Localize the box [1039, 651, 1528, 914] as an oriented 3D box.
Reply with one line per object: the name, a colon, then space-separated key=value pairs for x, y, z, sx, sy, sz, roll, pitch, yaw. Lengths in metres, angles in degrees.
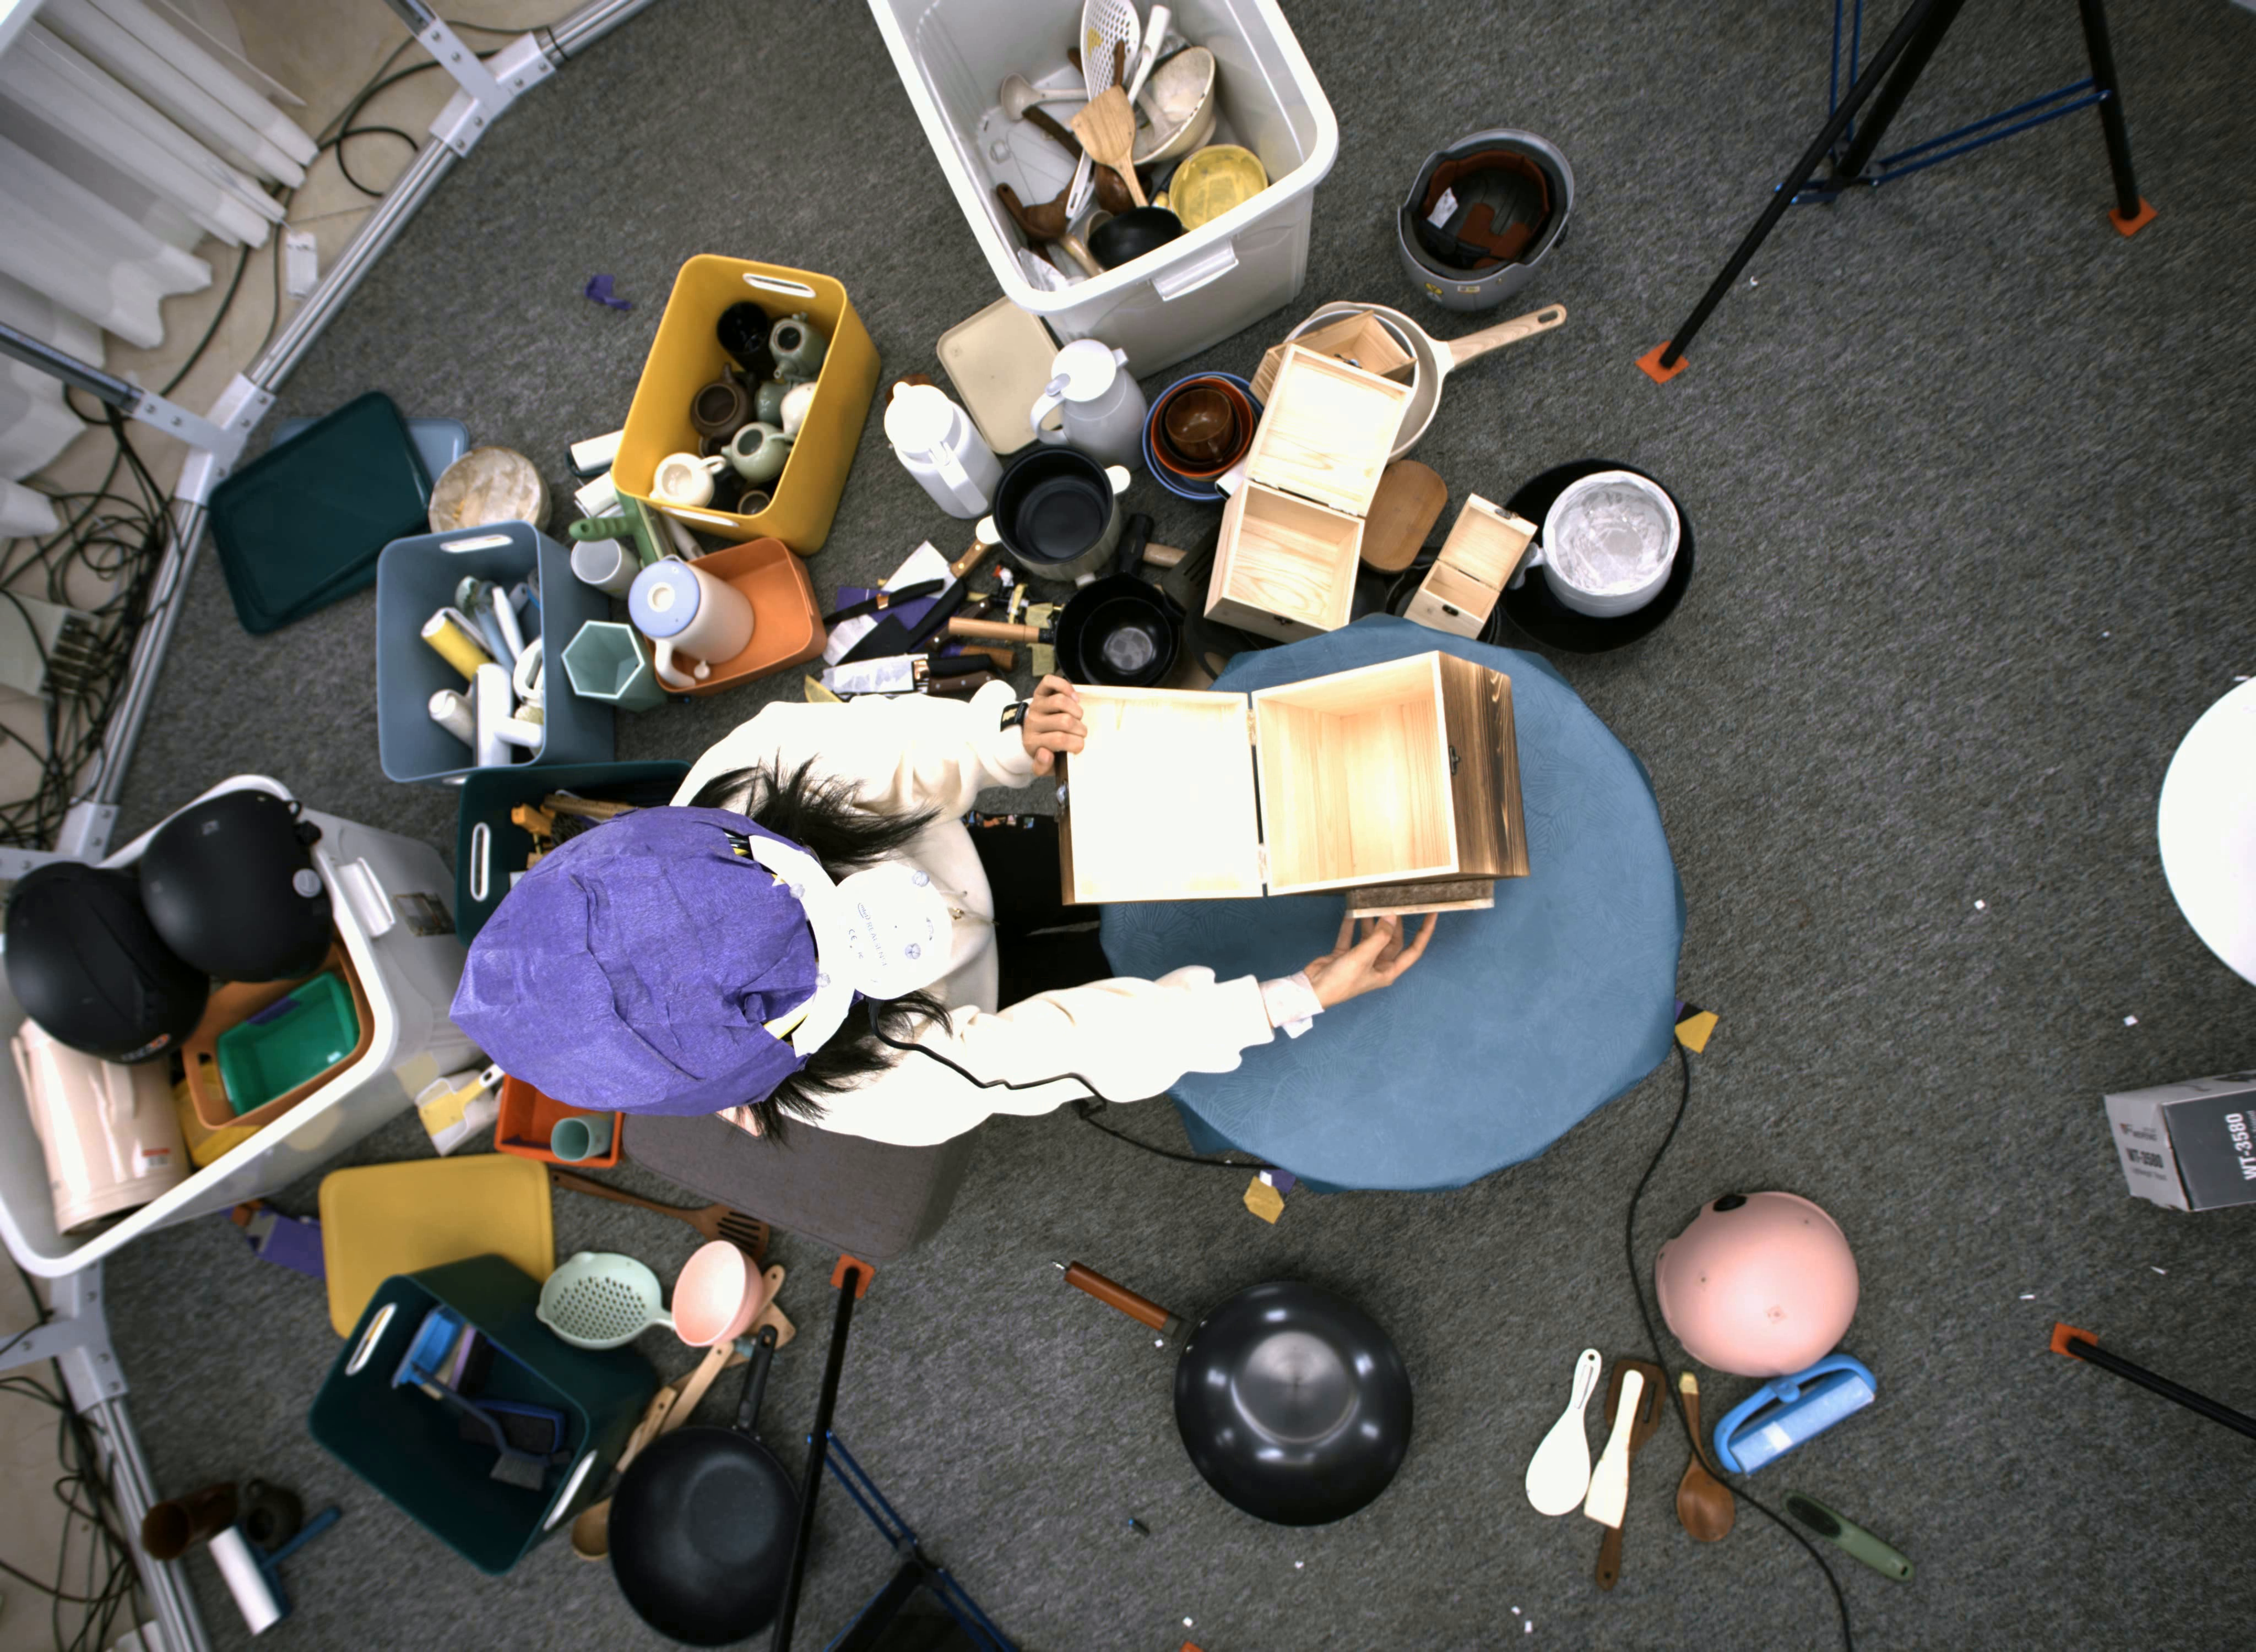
box: x=0.157 y=-0.038 z=1.301 sx=0.326 sy=0.373 sz=0.207 roll=-9 pitch=83 yaw=37

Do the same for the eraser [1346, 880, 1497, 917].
eraser: x=0.285 y=0.070 z=1.350 sx=0.139 sy=0.057 sz=0.029 roll=-3 pitch=86 yaw=1
